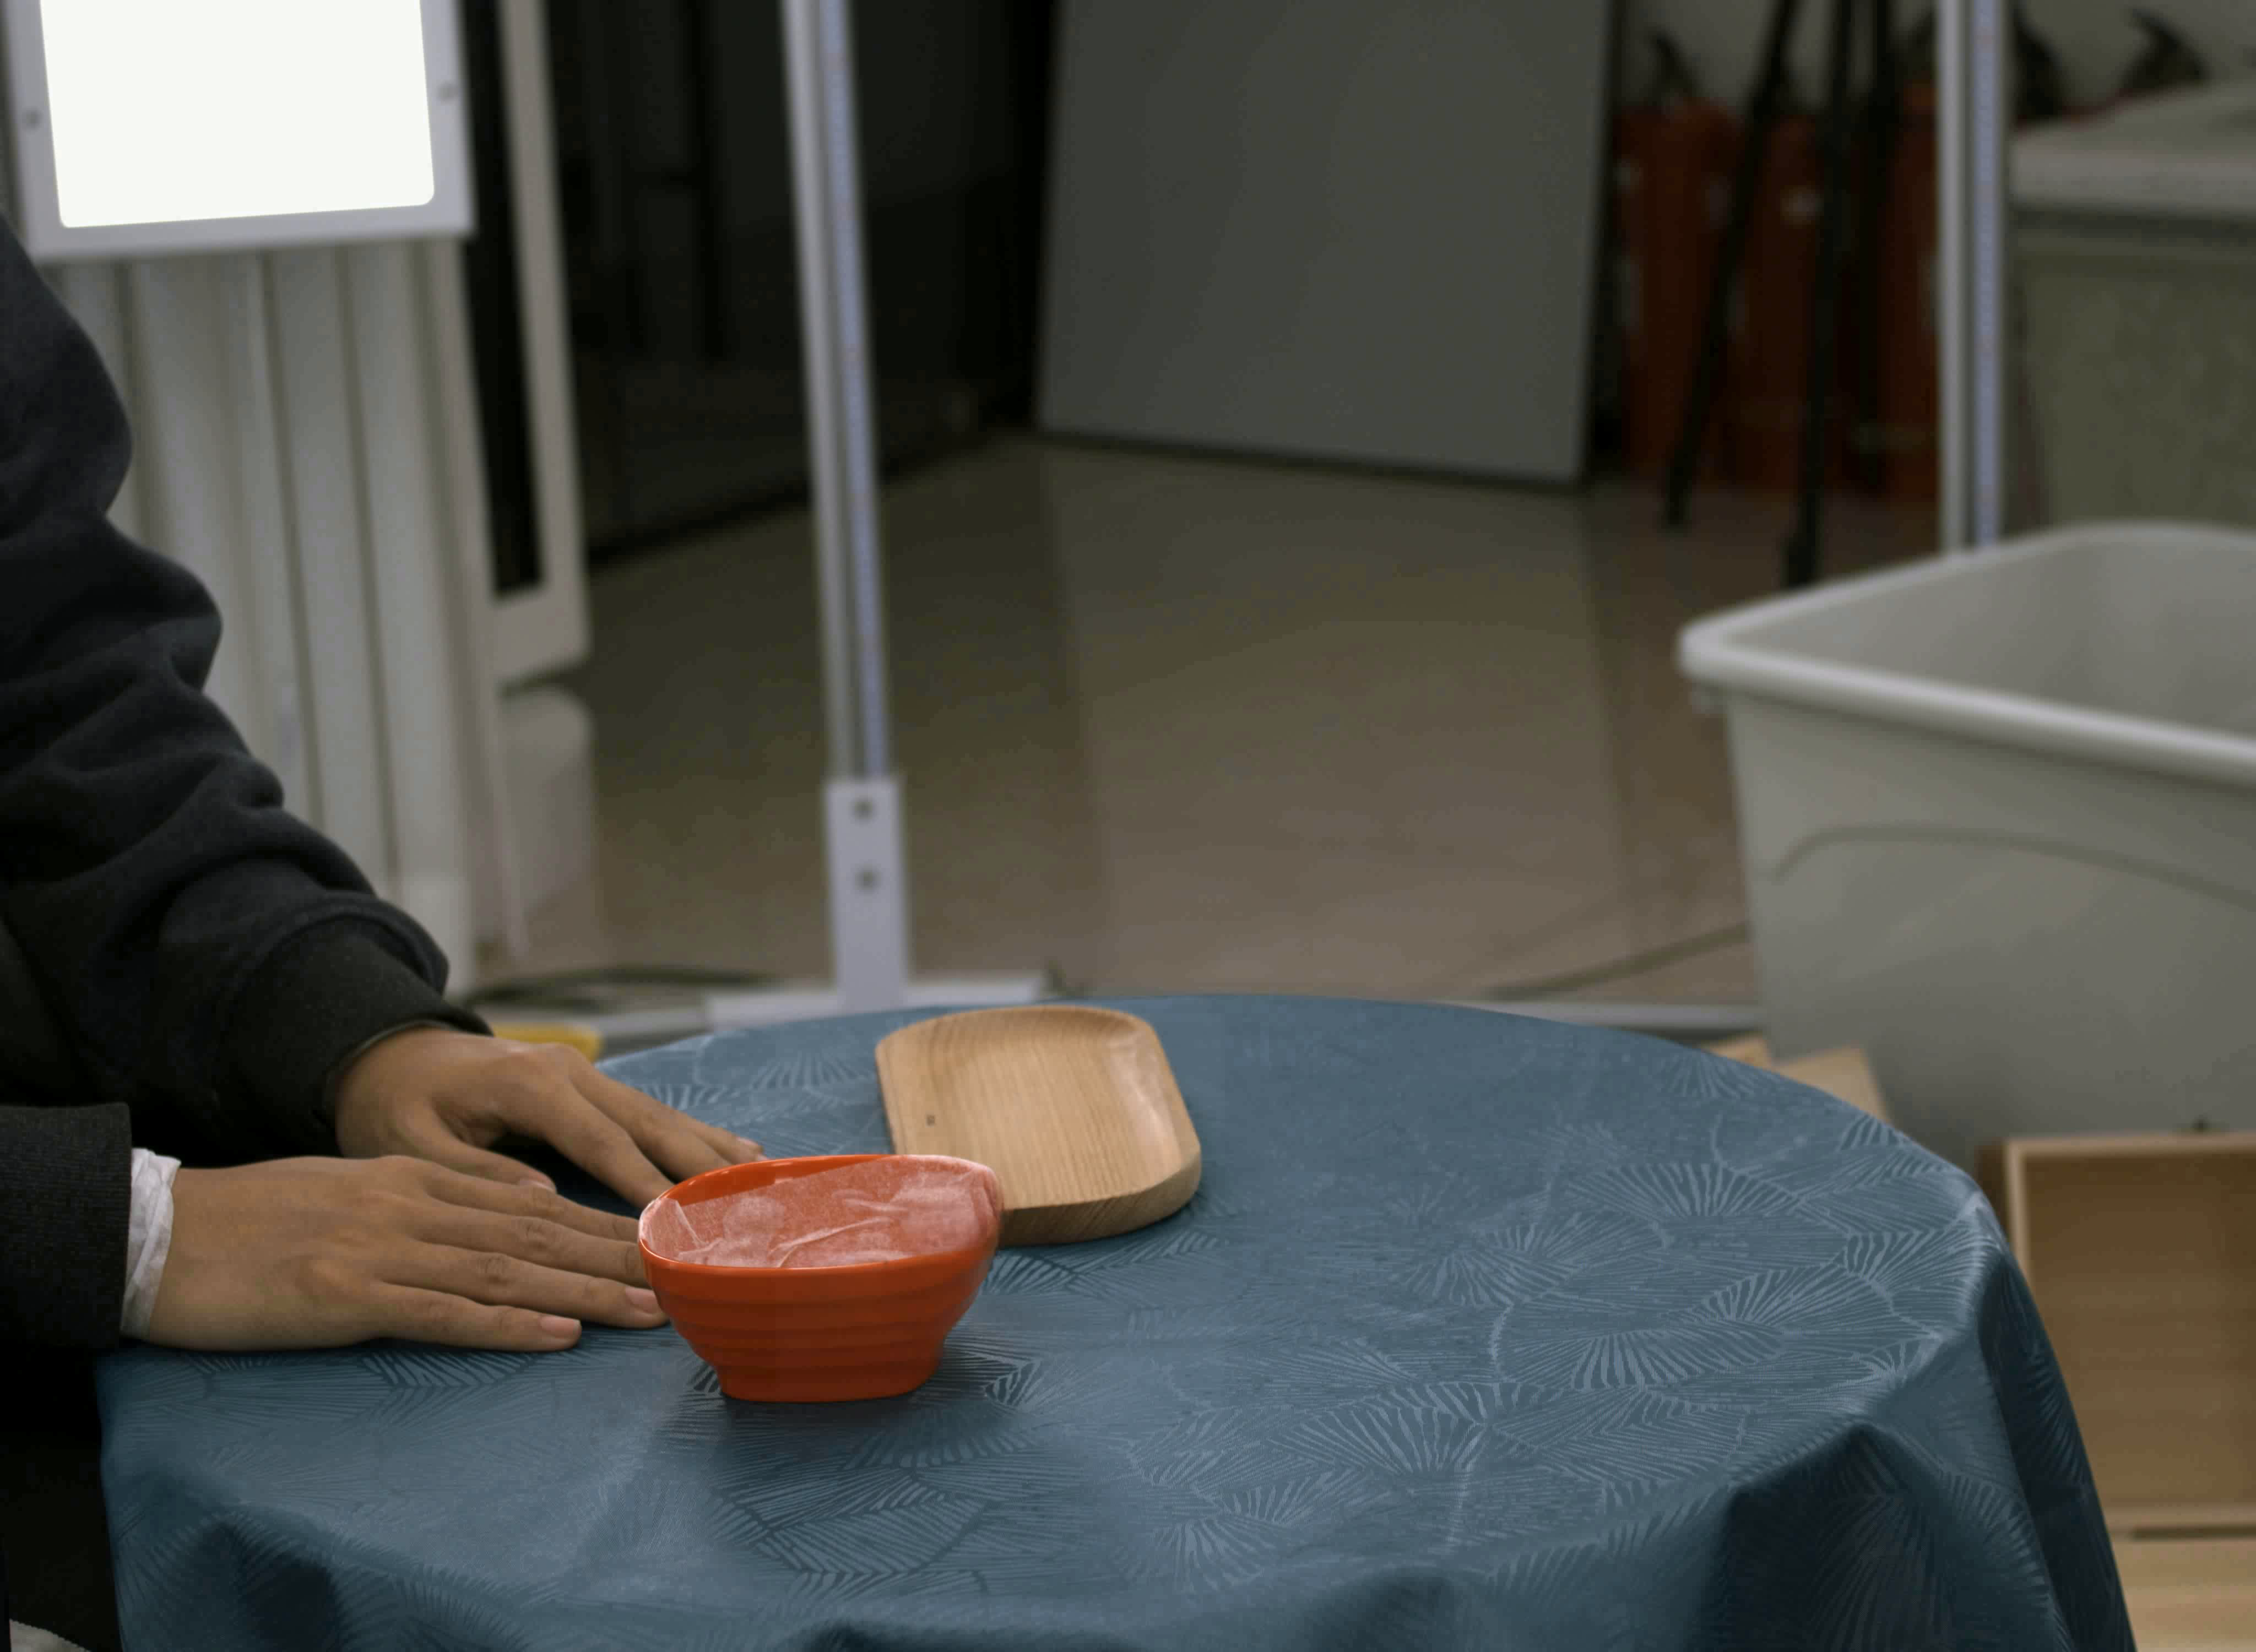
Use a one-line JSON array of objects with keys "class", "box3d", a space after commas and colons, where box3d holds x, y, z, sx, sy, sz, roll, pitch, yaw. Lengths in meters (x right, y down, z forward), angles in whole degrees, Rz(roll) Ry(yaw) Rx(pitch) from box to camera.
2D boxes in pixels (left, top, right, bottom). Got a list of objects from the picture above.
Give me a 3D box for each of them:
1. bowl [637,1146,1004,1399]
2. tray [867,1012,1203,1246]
[{"class": "bowl", "box3d": [-0.091, 0.136, 1.617, 0.117, 0.052, 0.119, -2, 15, 0]}, {"class": "tray", "box3d": [-0.033, 0.101, 1.830, 0.100, 0.020, 0.232, -5, 12, -6]}]
